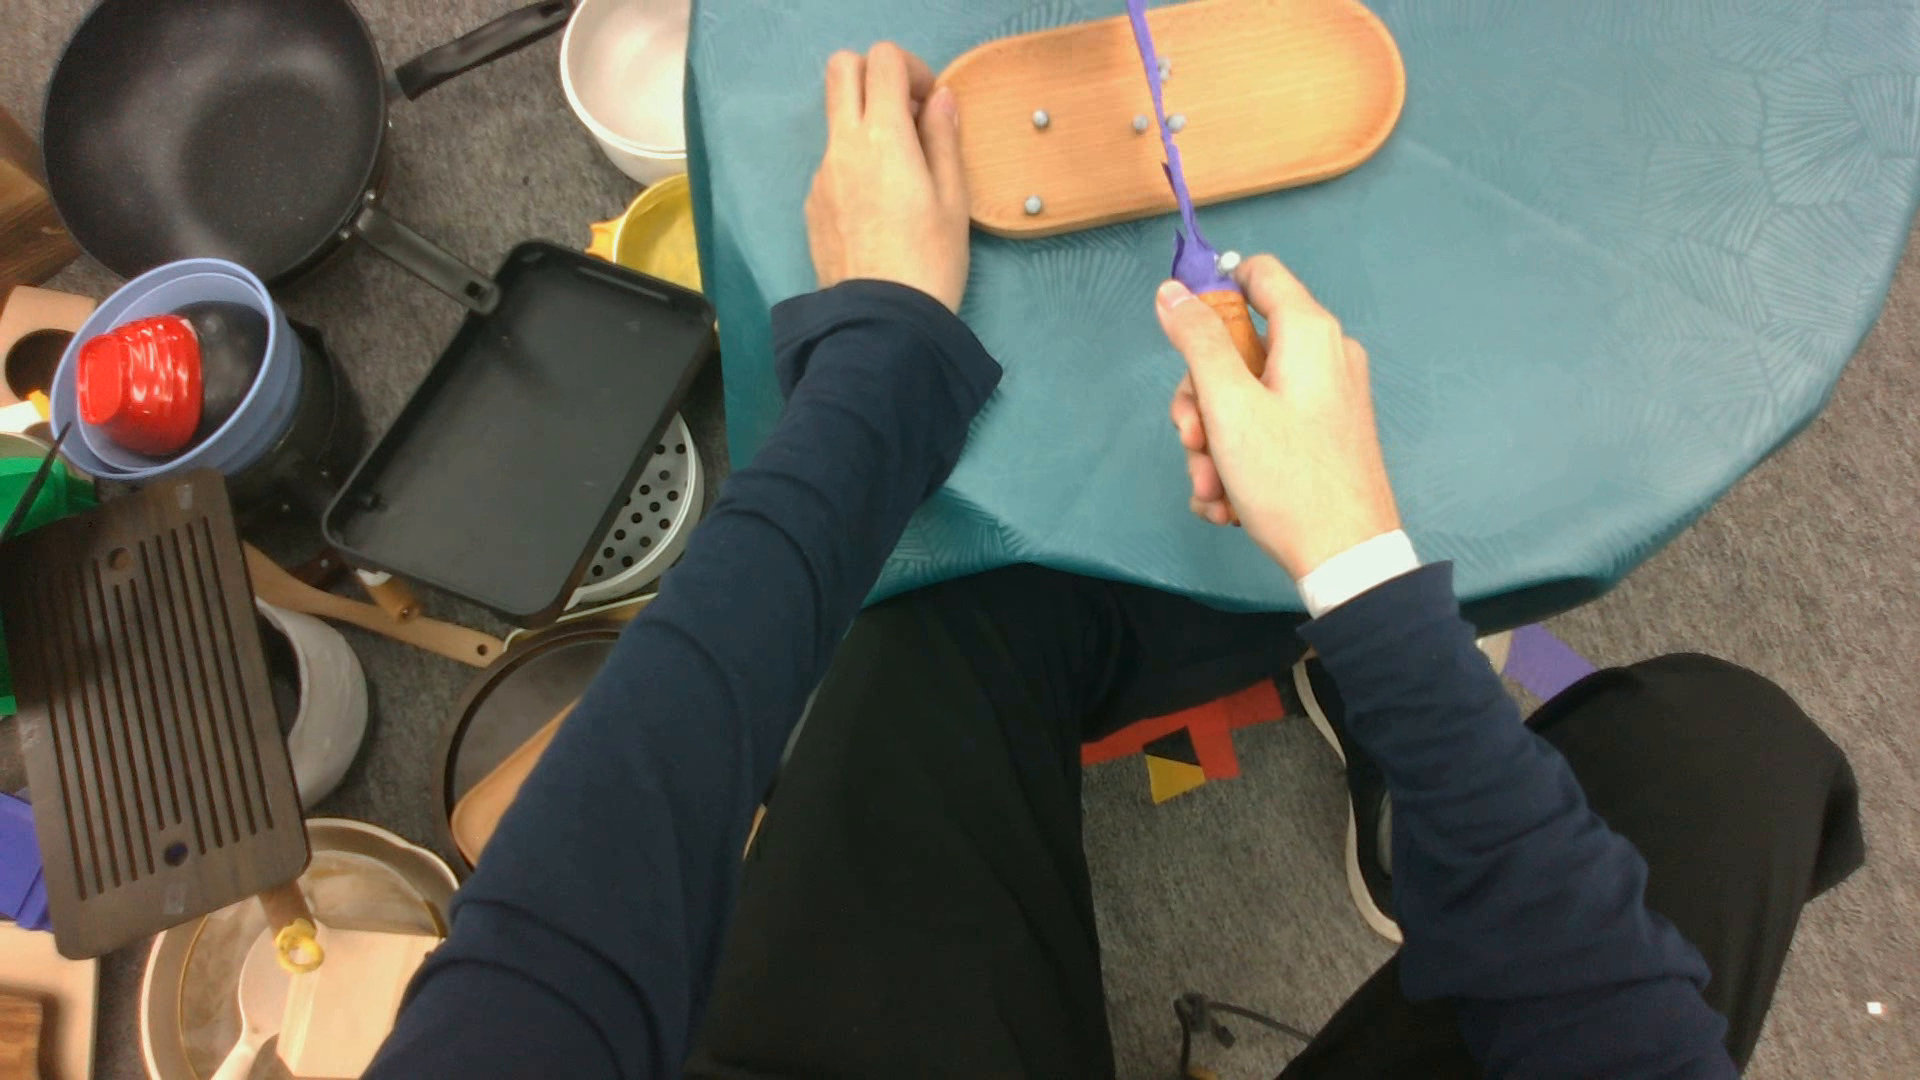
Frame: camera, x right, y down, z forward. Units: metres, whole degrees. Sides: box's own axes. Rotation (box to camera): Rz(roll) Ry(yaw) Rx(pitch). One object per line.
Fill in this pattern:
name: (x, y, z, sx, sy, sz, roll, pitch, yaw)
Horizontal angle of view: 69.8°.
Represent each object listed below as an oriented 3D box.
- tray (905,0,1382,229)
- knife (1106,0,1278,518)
tray: (0.088, -0.209, 0.660, 0.231, 0.020, 0.102, -12, 78, -5)
knife: (0.086, -0.161, 0.583, 0.032, 0.104, 0.315, -13, 82, 13)
